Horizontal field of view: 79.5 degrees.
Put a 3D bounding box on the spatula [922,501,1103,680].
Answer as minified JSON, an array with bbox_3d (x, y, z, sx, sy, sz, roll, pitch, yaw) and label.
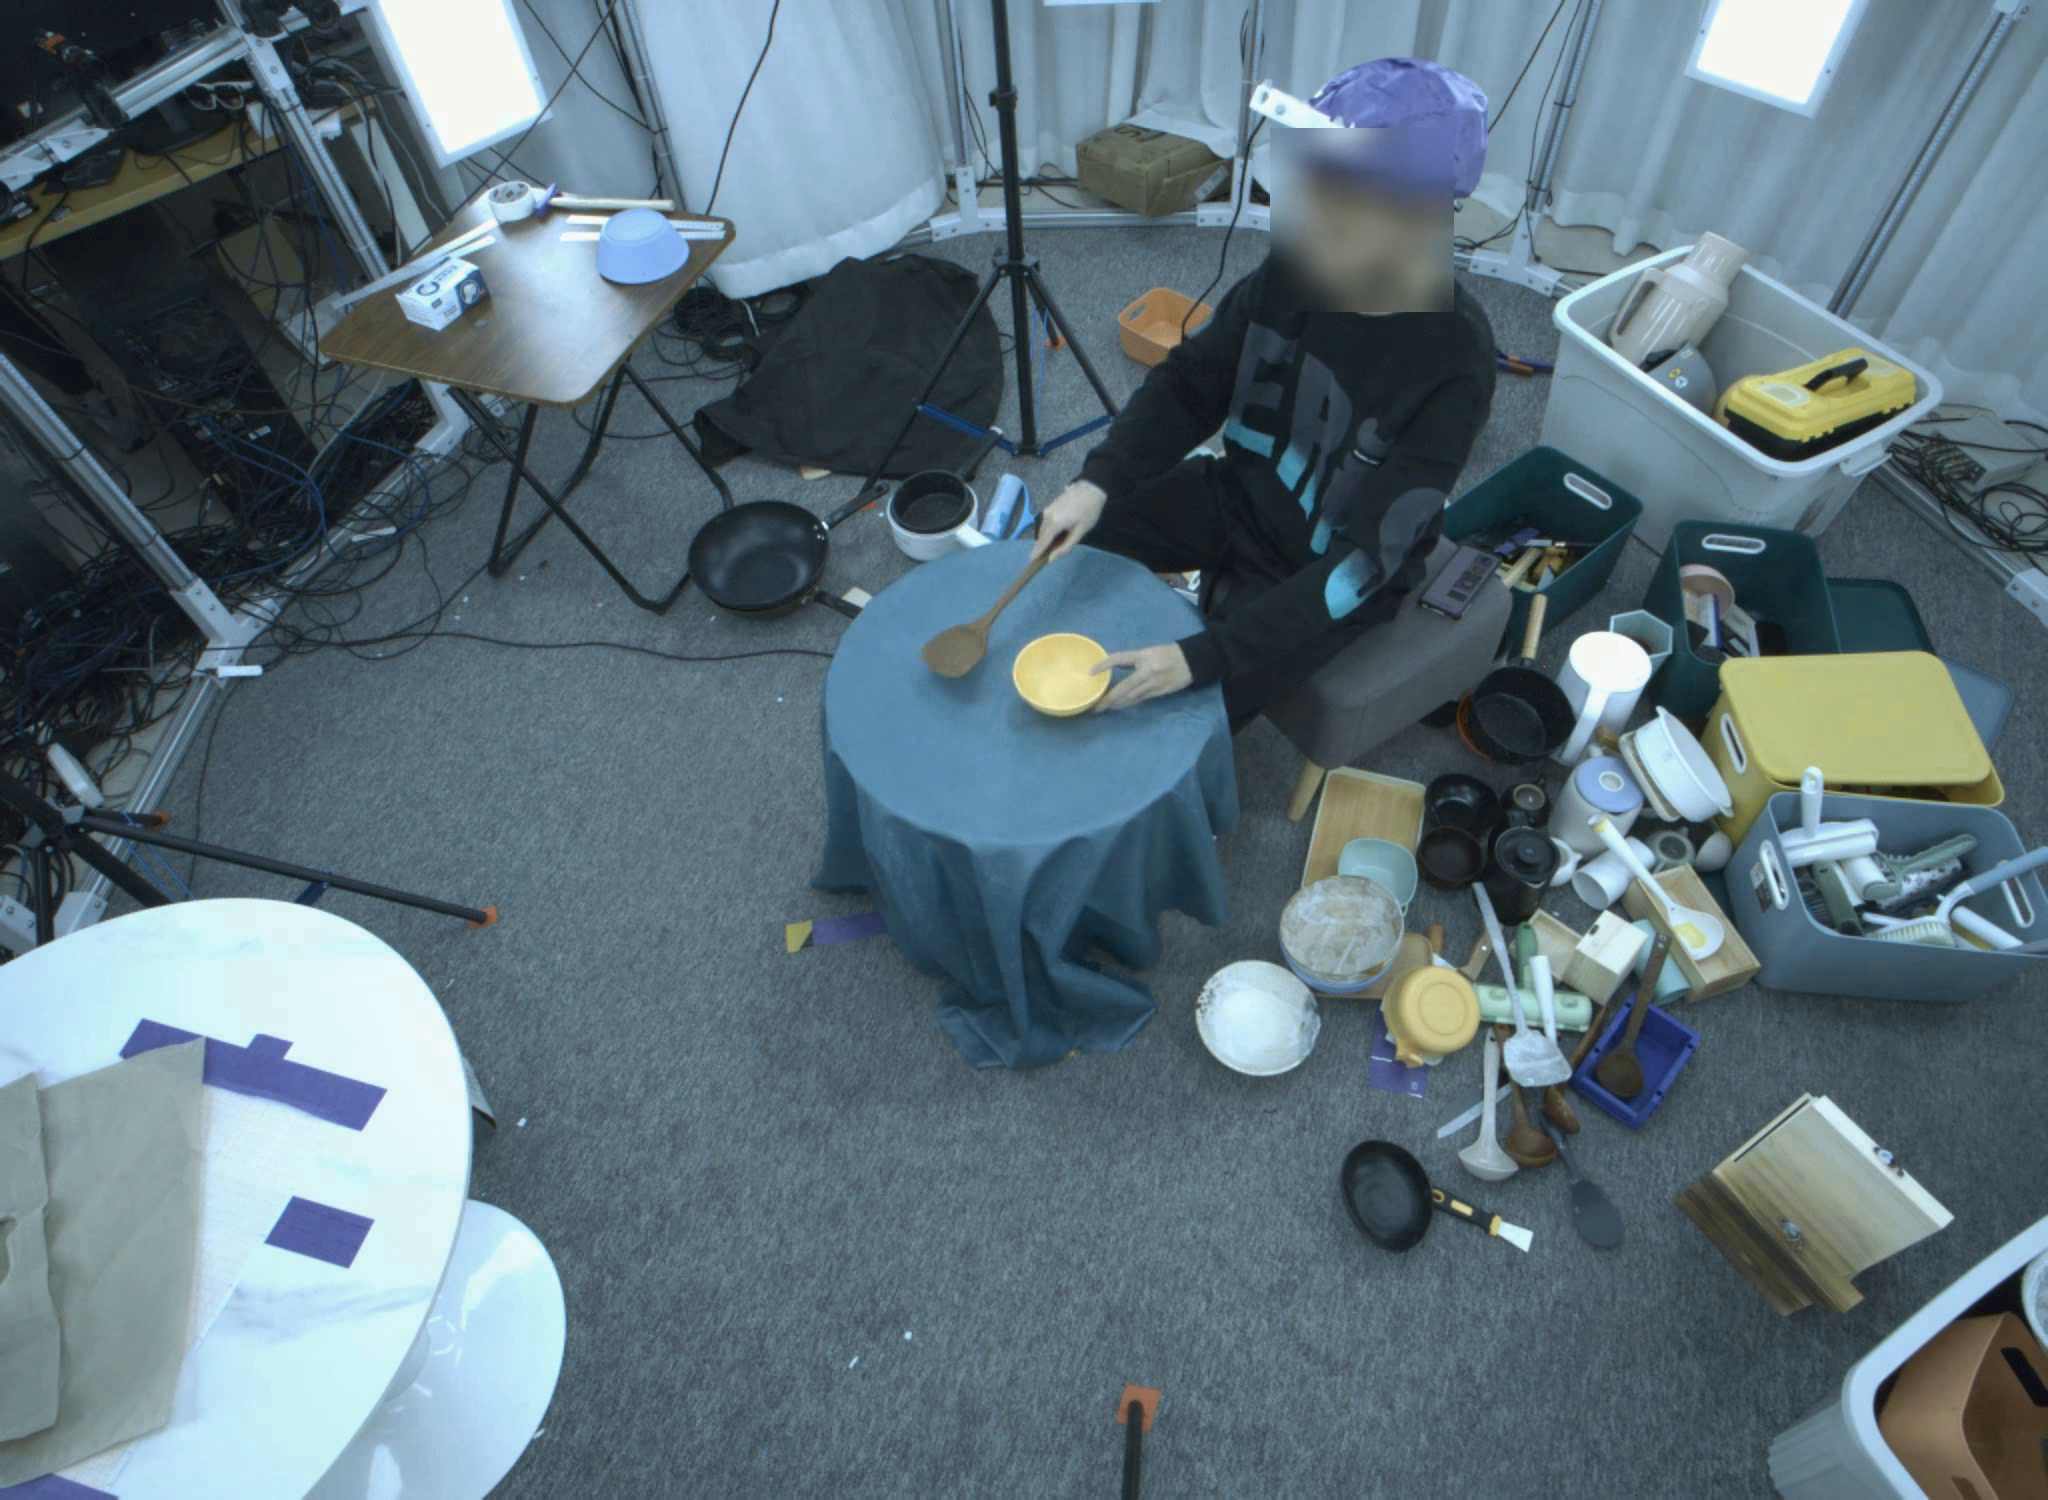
[{"bbox_3d":[-0.005,-0.253,1.876,0.094,0.016,0.387,33,73,29],"label":"spatula"}]

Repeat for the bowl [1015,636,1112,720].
[{"bbox_3d":[0.058,-0.096,1.830,0.145,0.060,0.144,1,57,0],"label":"bowl"}]
